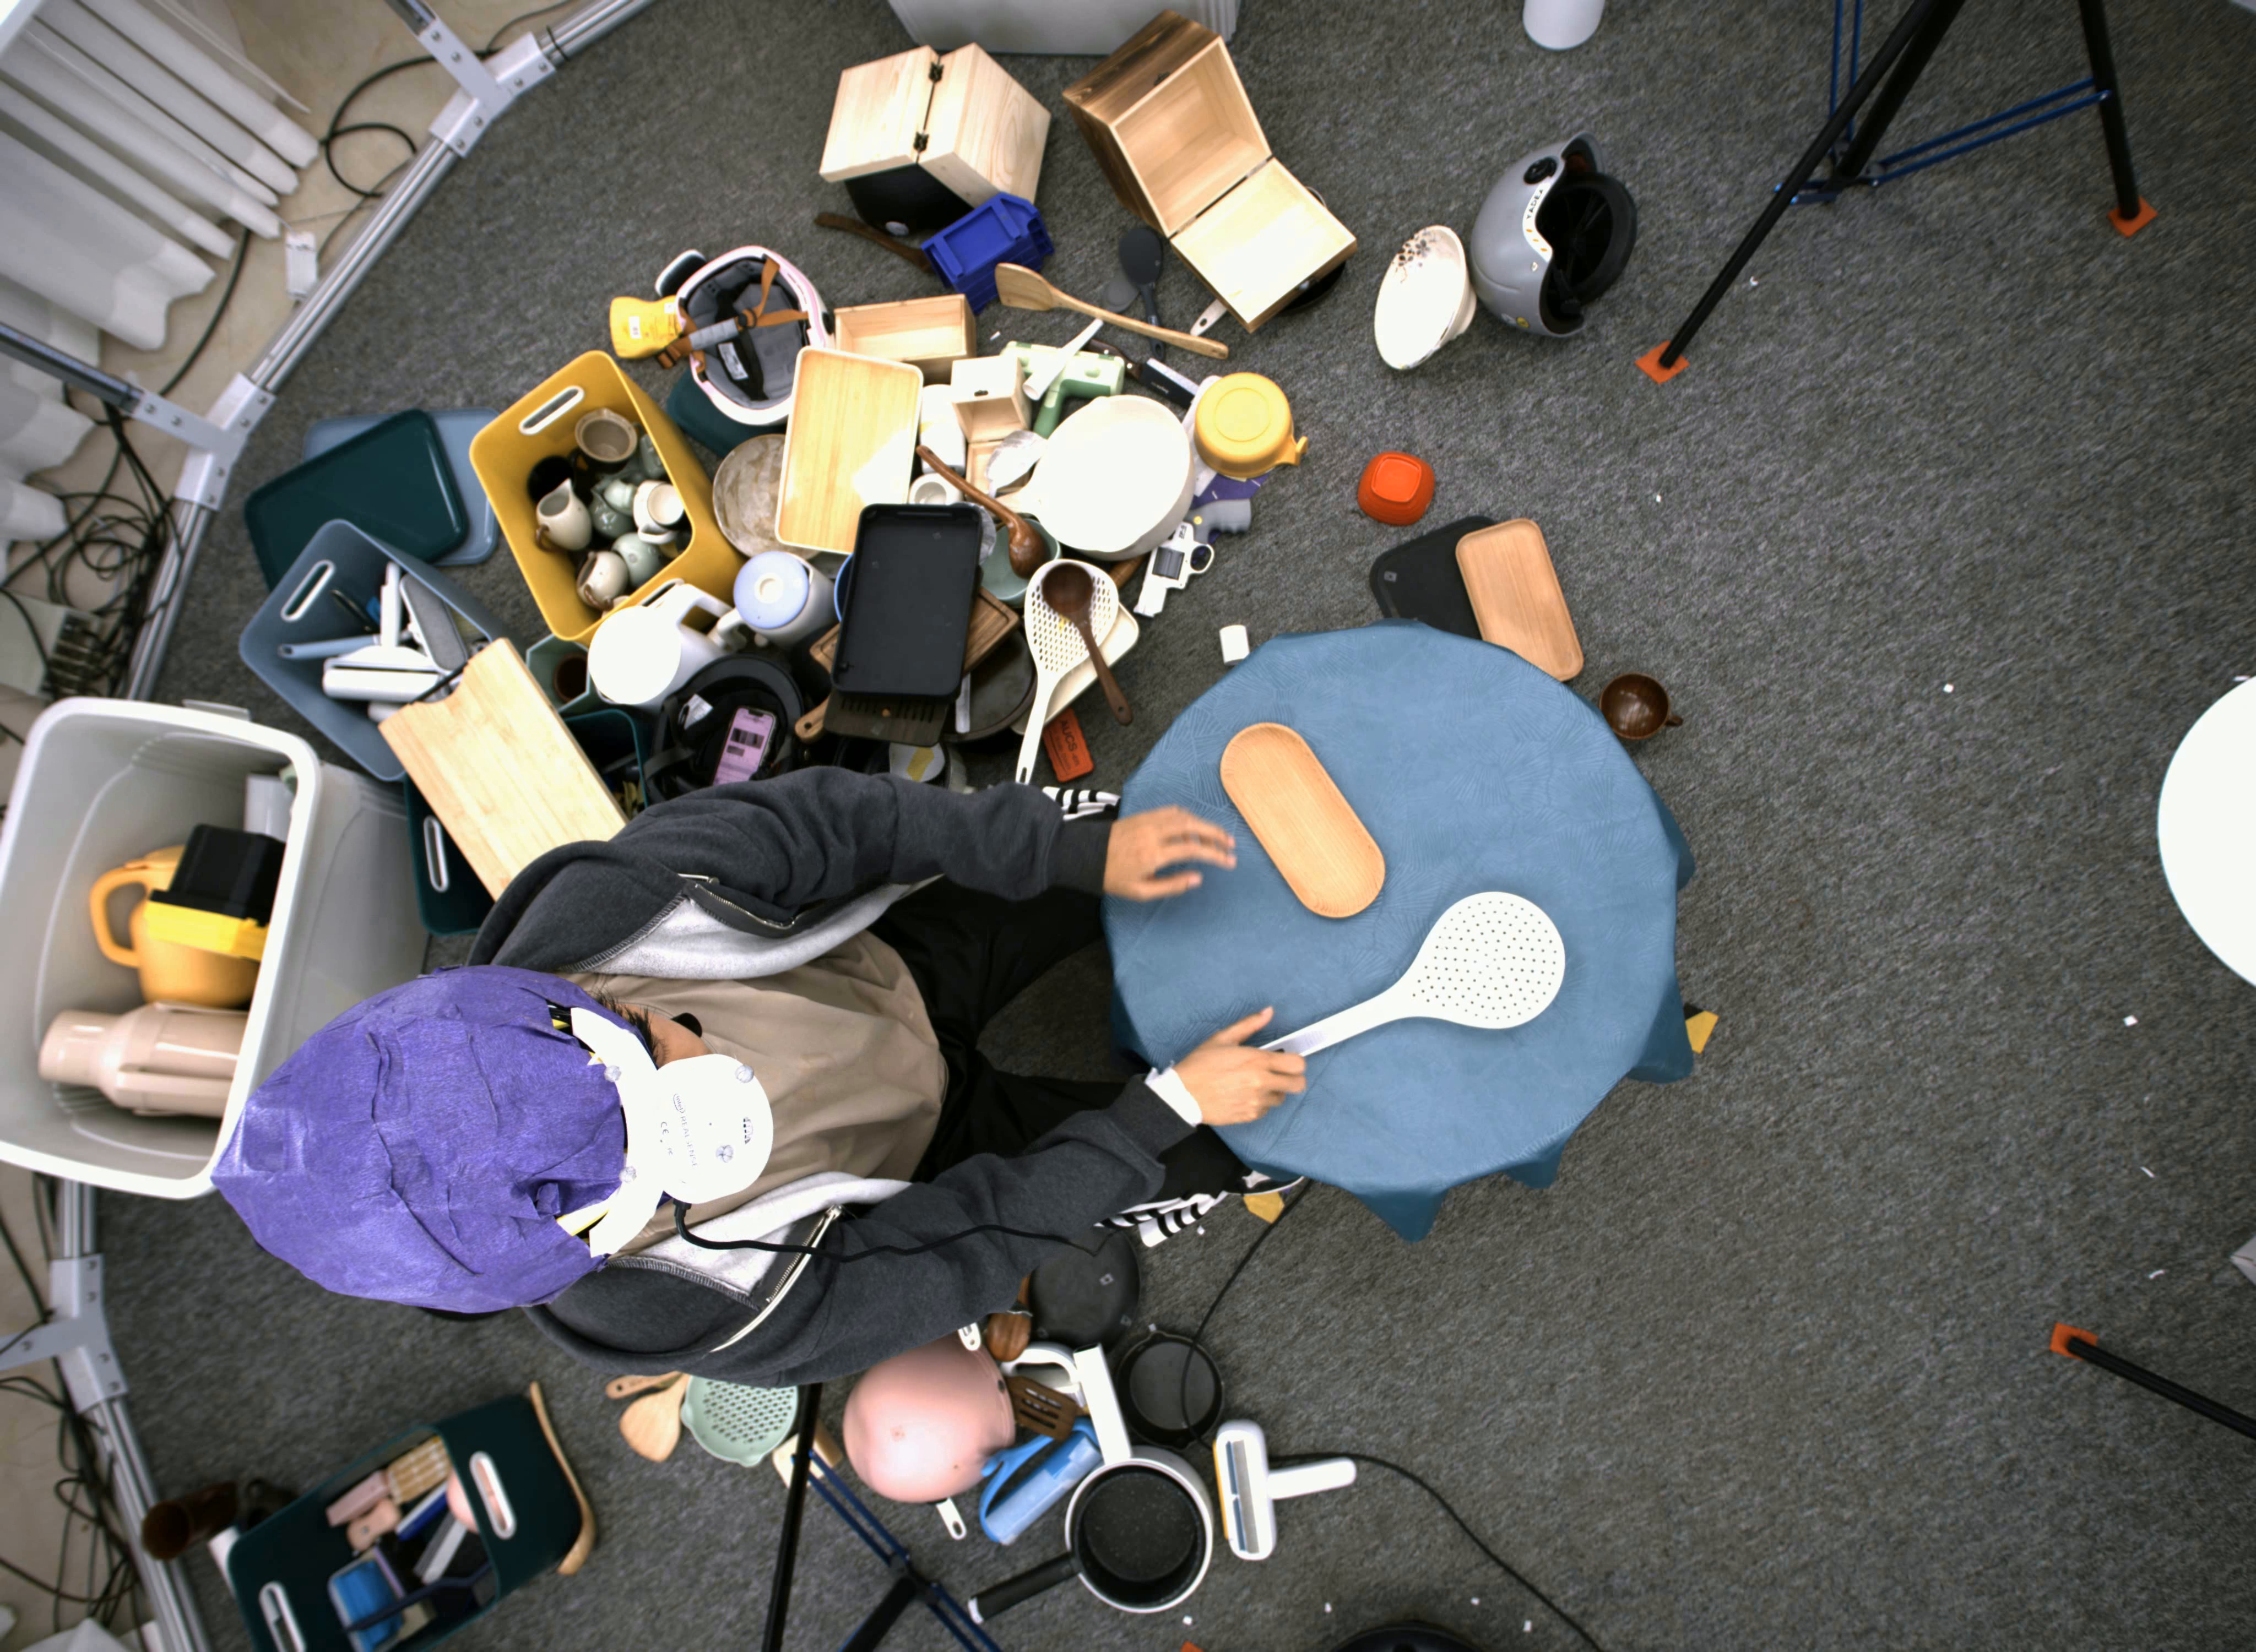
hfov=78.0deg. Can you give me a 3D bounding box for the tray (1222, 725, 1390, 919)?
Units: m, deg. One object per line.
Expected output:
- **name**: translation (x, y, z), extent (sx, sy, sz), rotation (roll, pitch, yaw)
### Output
- **tray**: translation (0.188, -0.006, 1.470), extent (0.102, 0.020, 0.230), rotation (-36, 82, 8)

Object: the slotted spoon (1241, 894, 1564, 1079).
- **slotted spoon**: translation (0.279, 0.182, 1.428), extent (0.352, 0.046, 0.135), rotation (-25, 81, 9)
